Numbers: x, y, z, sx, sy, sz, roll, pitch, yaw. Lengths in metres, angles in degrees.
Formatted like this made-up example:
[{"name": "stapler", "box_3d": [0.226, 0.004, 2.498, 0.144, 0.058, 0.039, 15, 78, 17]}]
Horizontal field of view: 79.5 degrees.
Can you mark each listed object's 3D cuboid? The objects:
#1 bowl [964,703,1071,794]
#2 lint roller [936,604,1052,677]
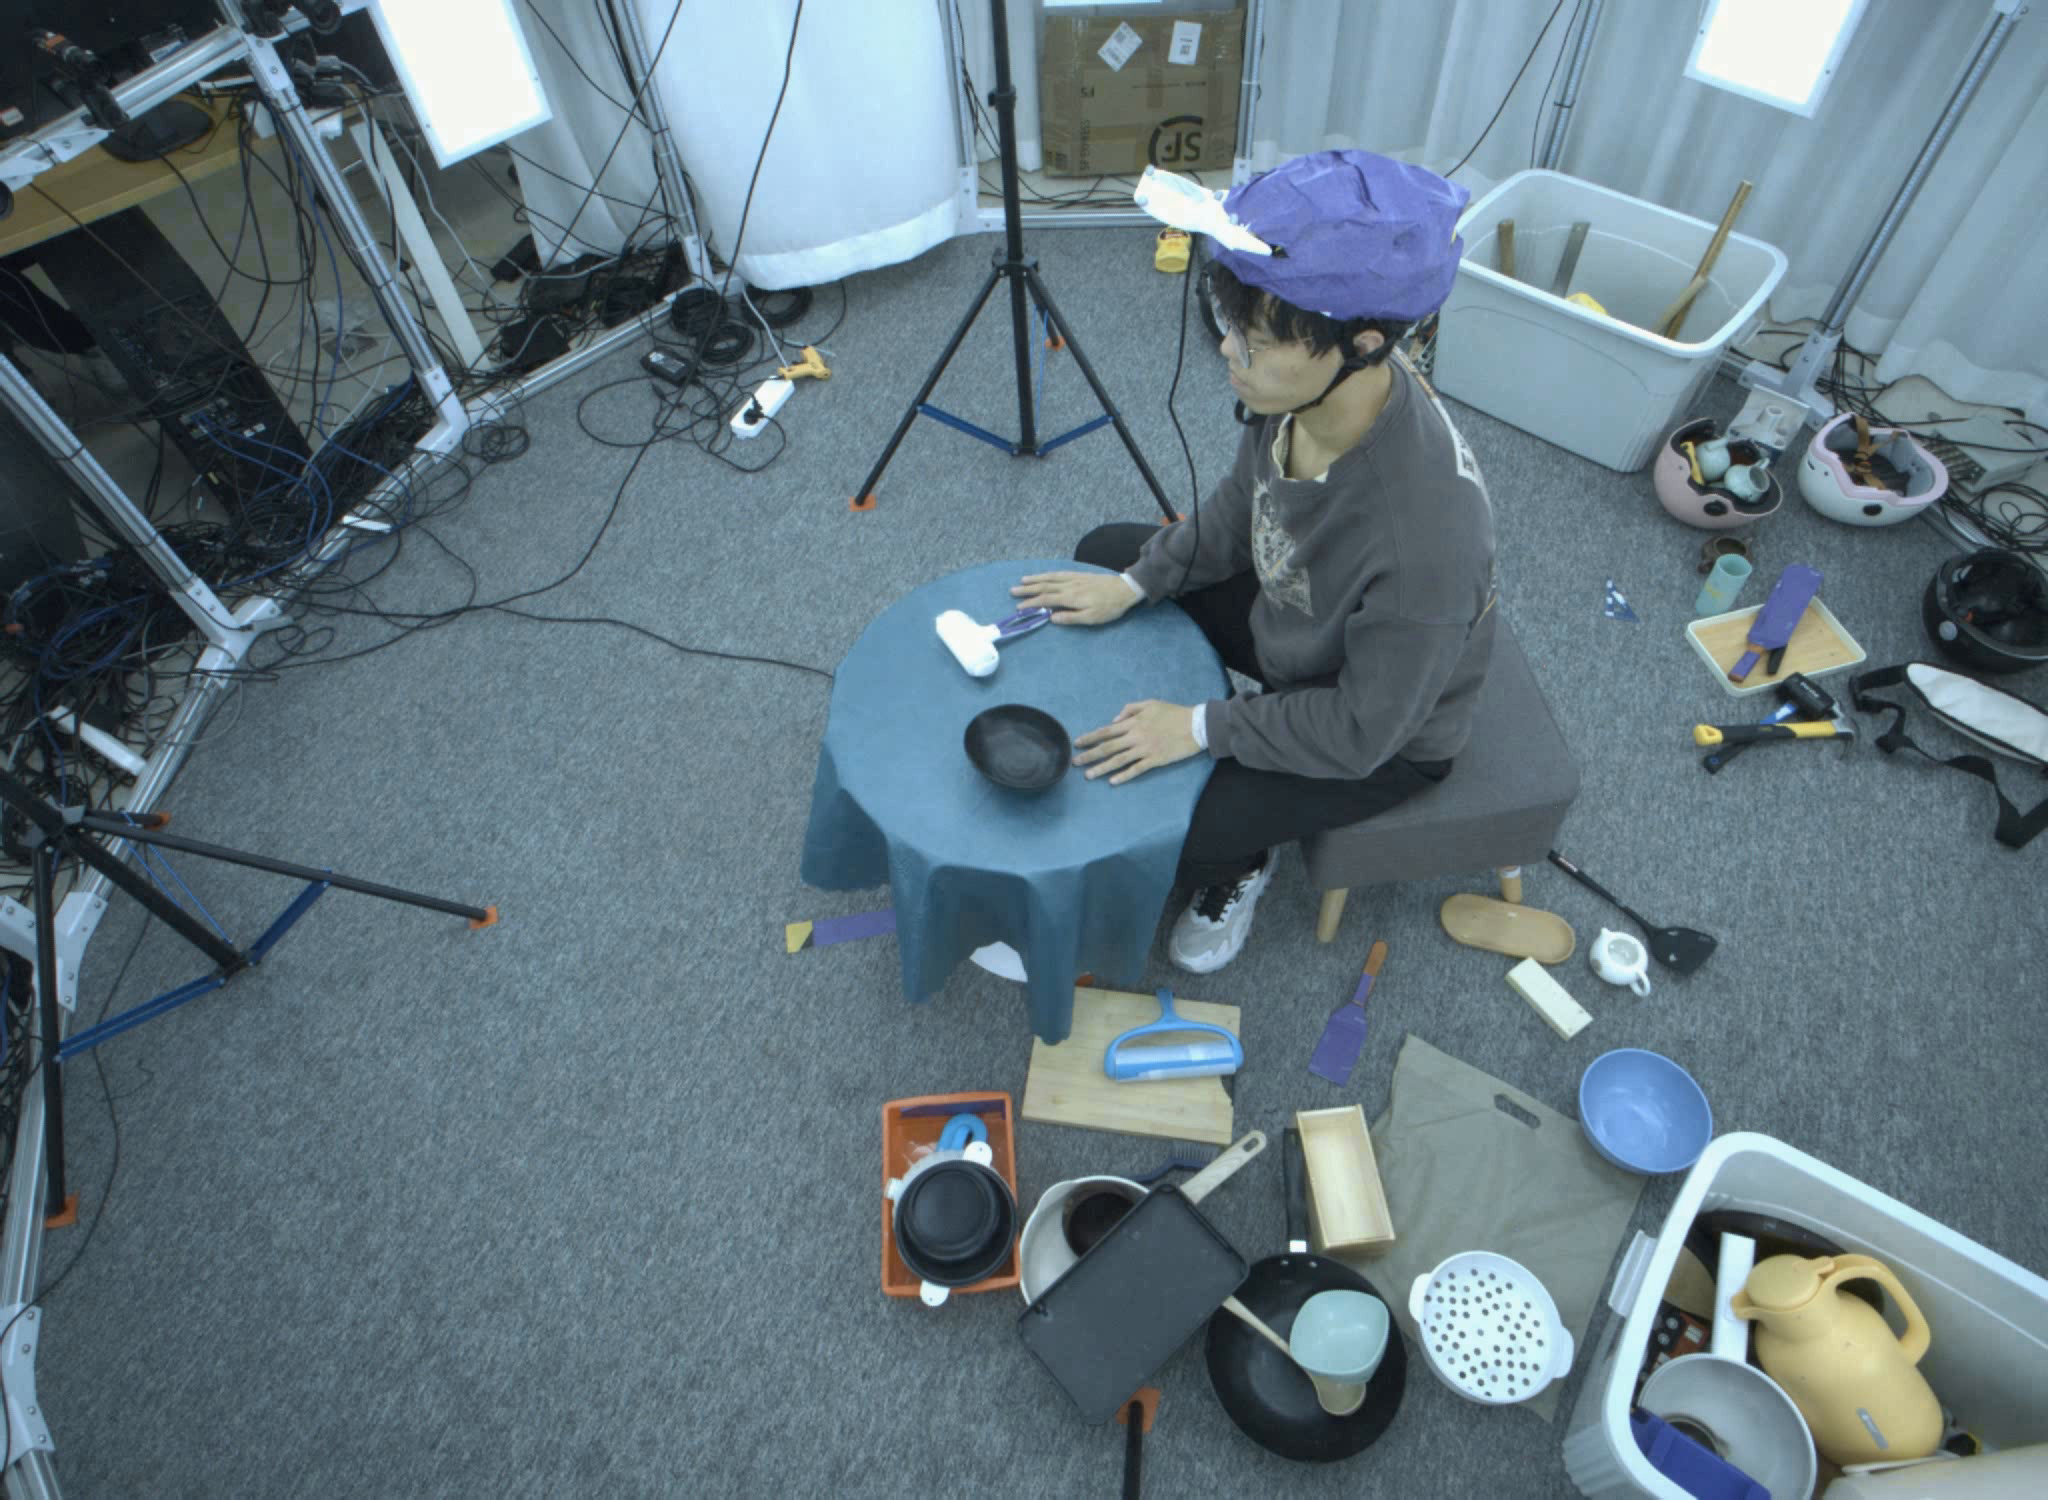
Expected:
[{"name": "bowl", "box_3d": [-0.009, 0.008, 1.740, 0.167, 0.067, 0.138, 36, 62, 26]}, {"name": "lint roller", "box_3d": [-0.035, -0.191, 1.894, 0.182, 0.051, 0.130, -27, 57, -13]}]
